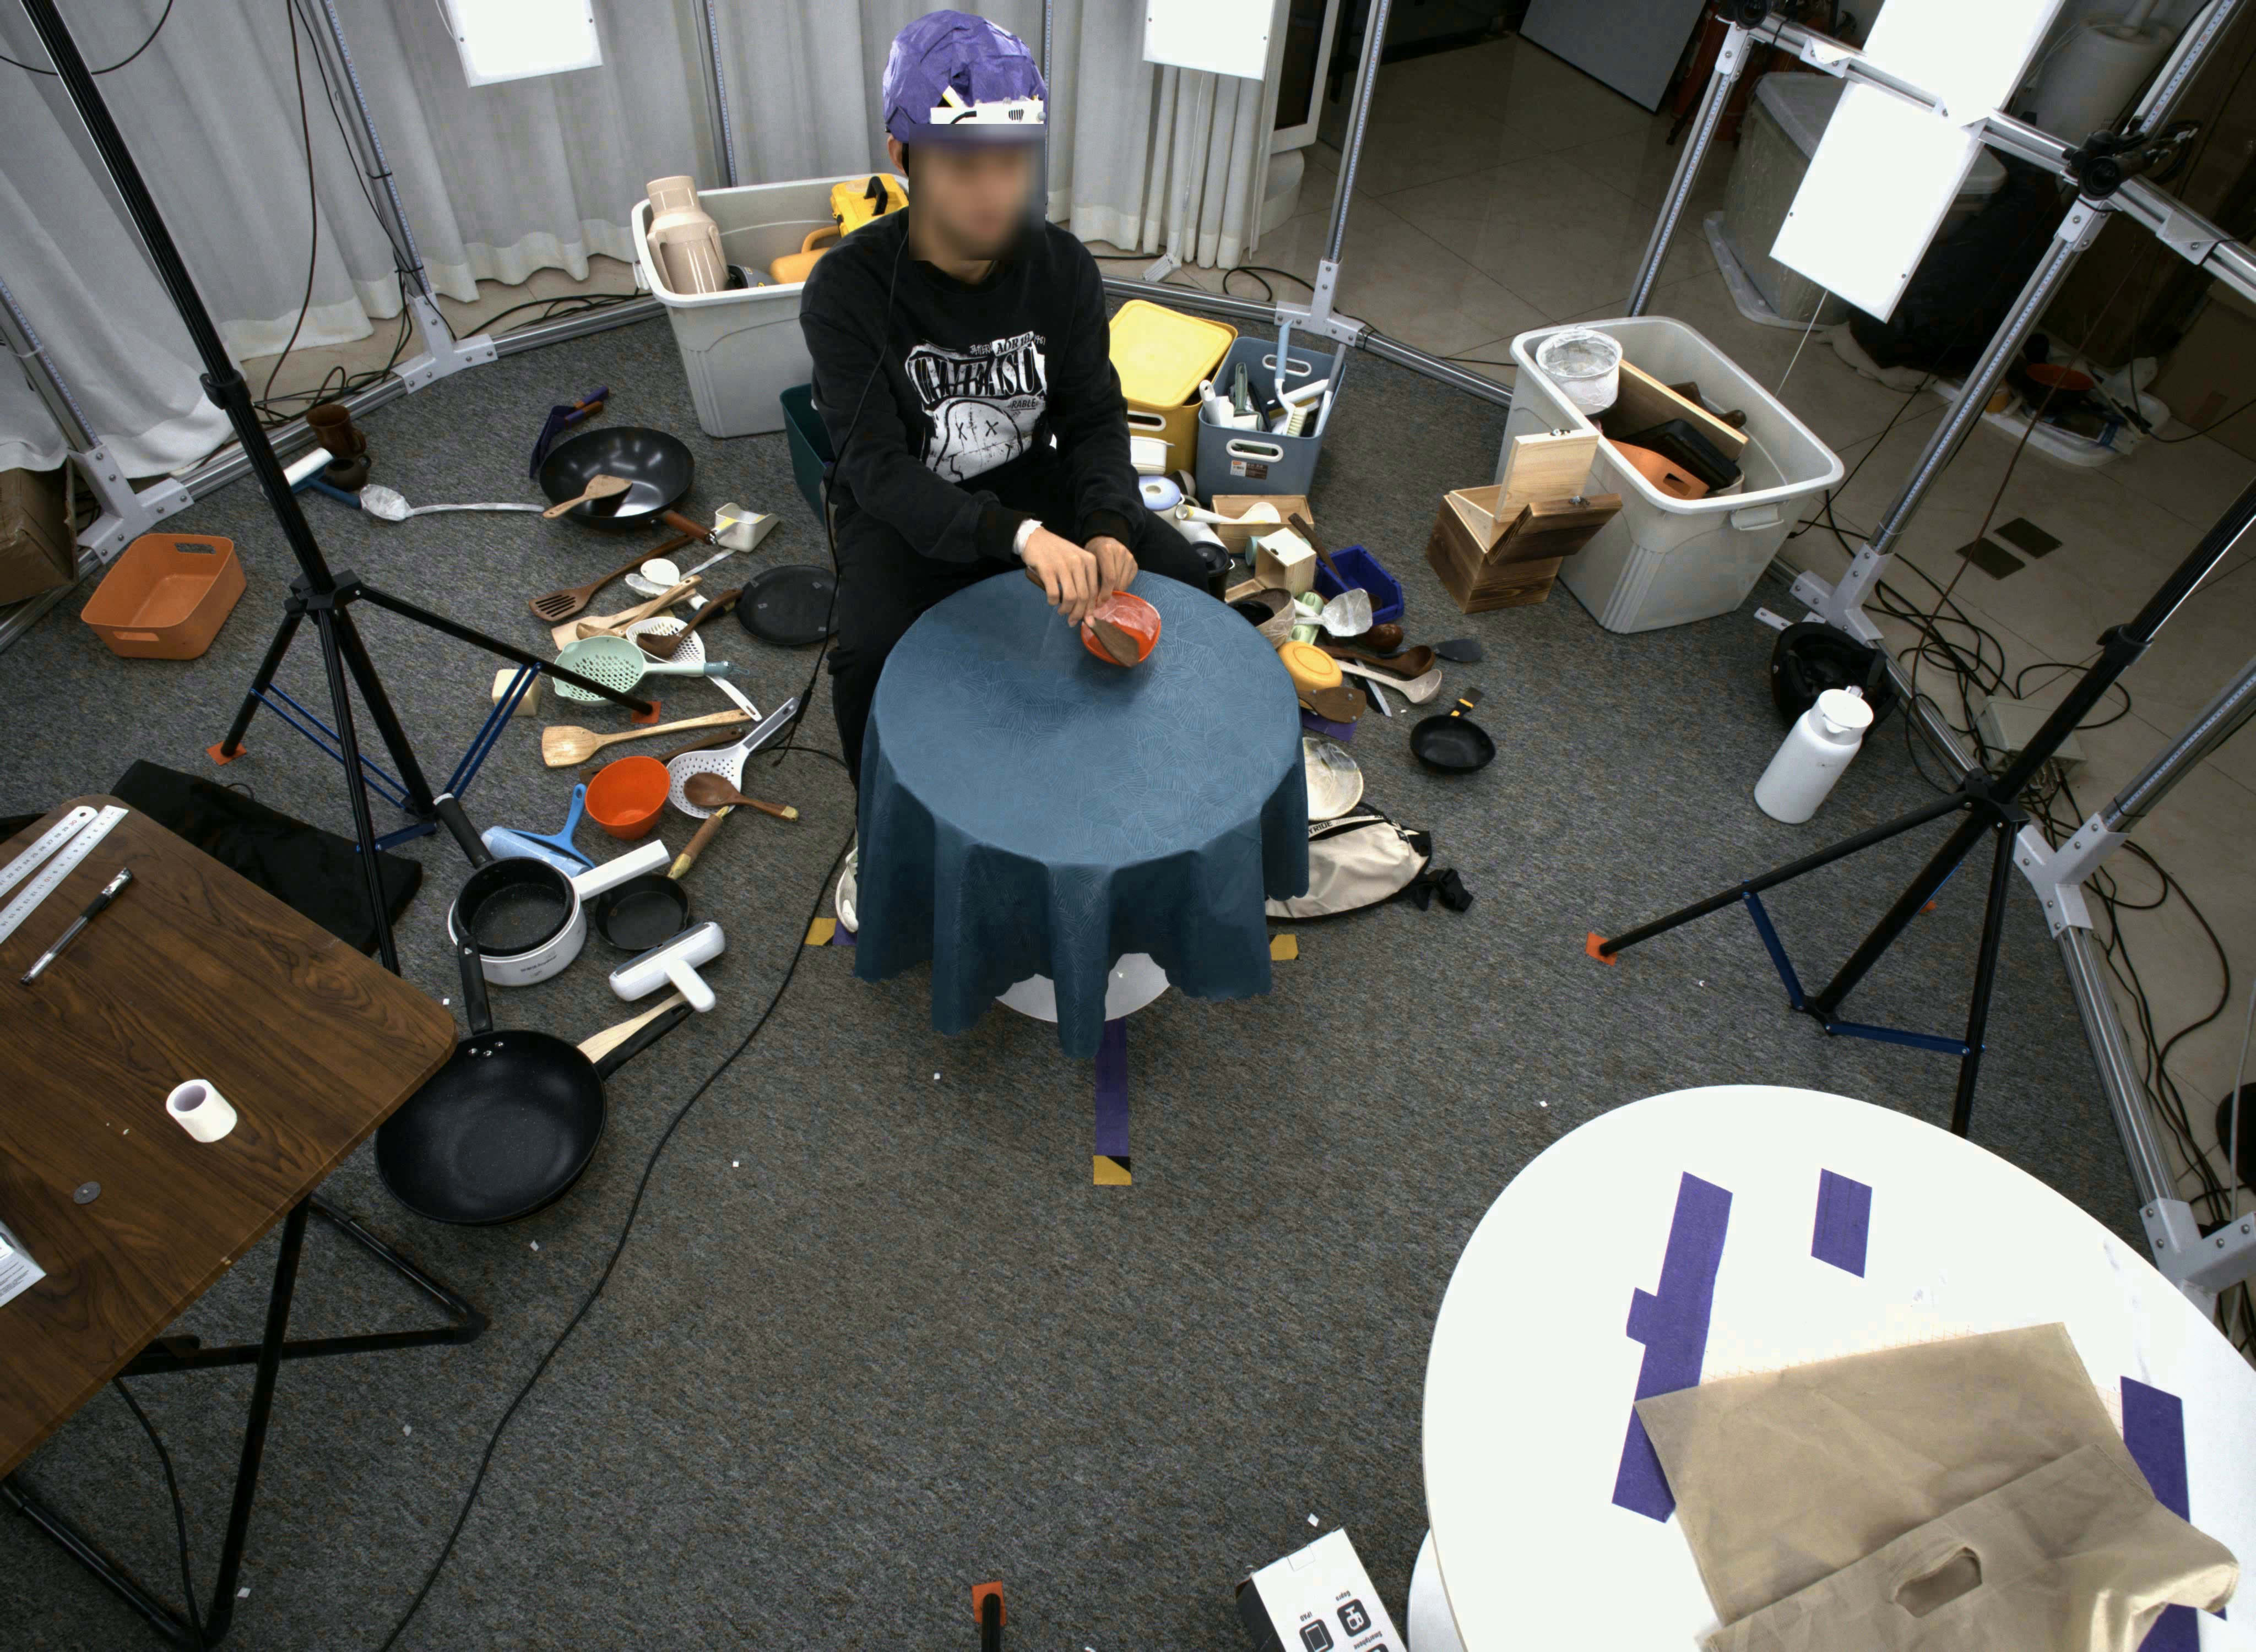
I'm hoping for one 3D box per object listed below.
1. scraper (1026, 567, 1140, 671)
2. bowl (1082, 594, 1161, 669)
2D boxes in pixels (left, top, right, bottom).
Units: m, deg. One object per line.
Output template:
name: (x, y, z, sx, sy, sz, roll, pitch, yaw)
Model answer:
scraper: (-0.062, -0.293, 1.801, 0.208, 0.011, 0.078, 36, 33, -25)
bowl: (-0.012, -0.277, 1.879, 0.118, 0.050, 0.121, 2, 70, -7)
